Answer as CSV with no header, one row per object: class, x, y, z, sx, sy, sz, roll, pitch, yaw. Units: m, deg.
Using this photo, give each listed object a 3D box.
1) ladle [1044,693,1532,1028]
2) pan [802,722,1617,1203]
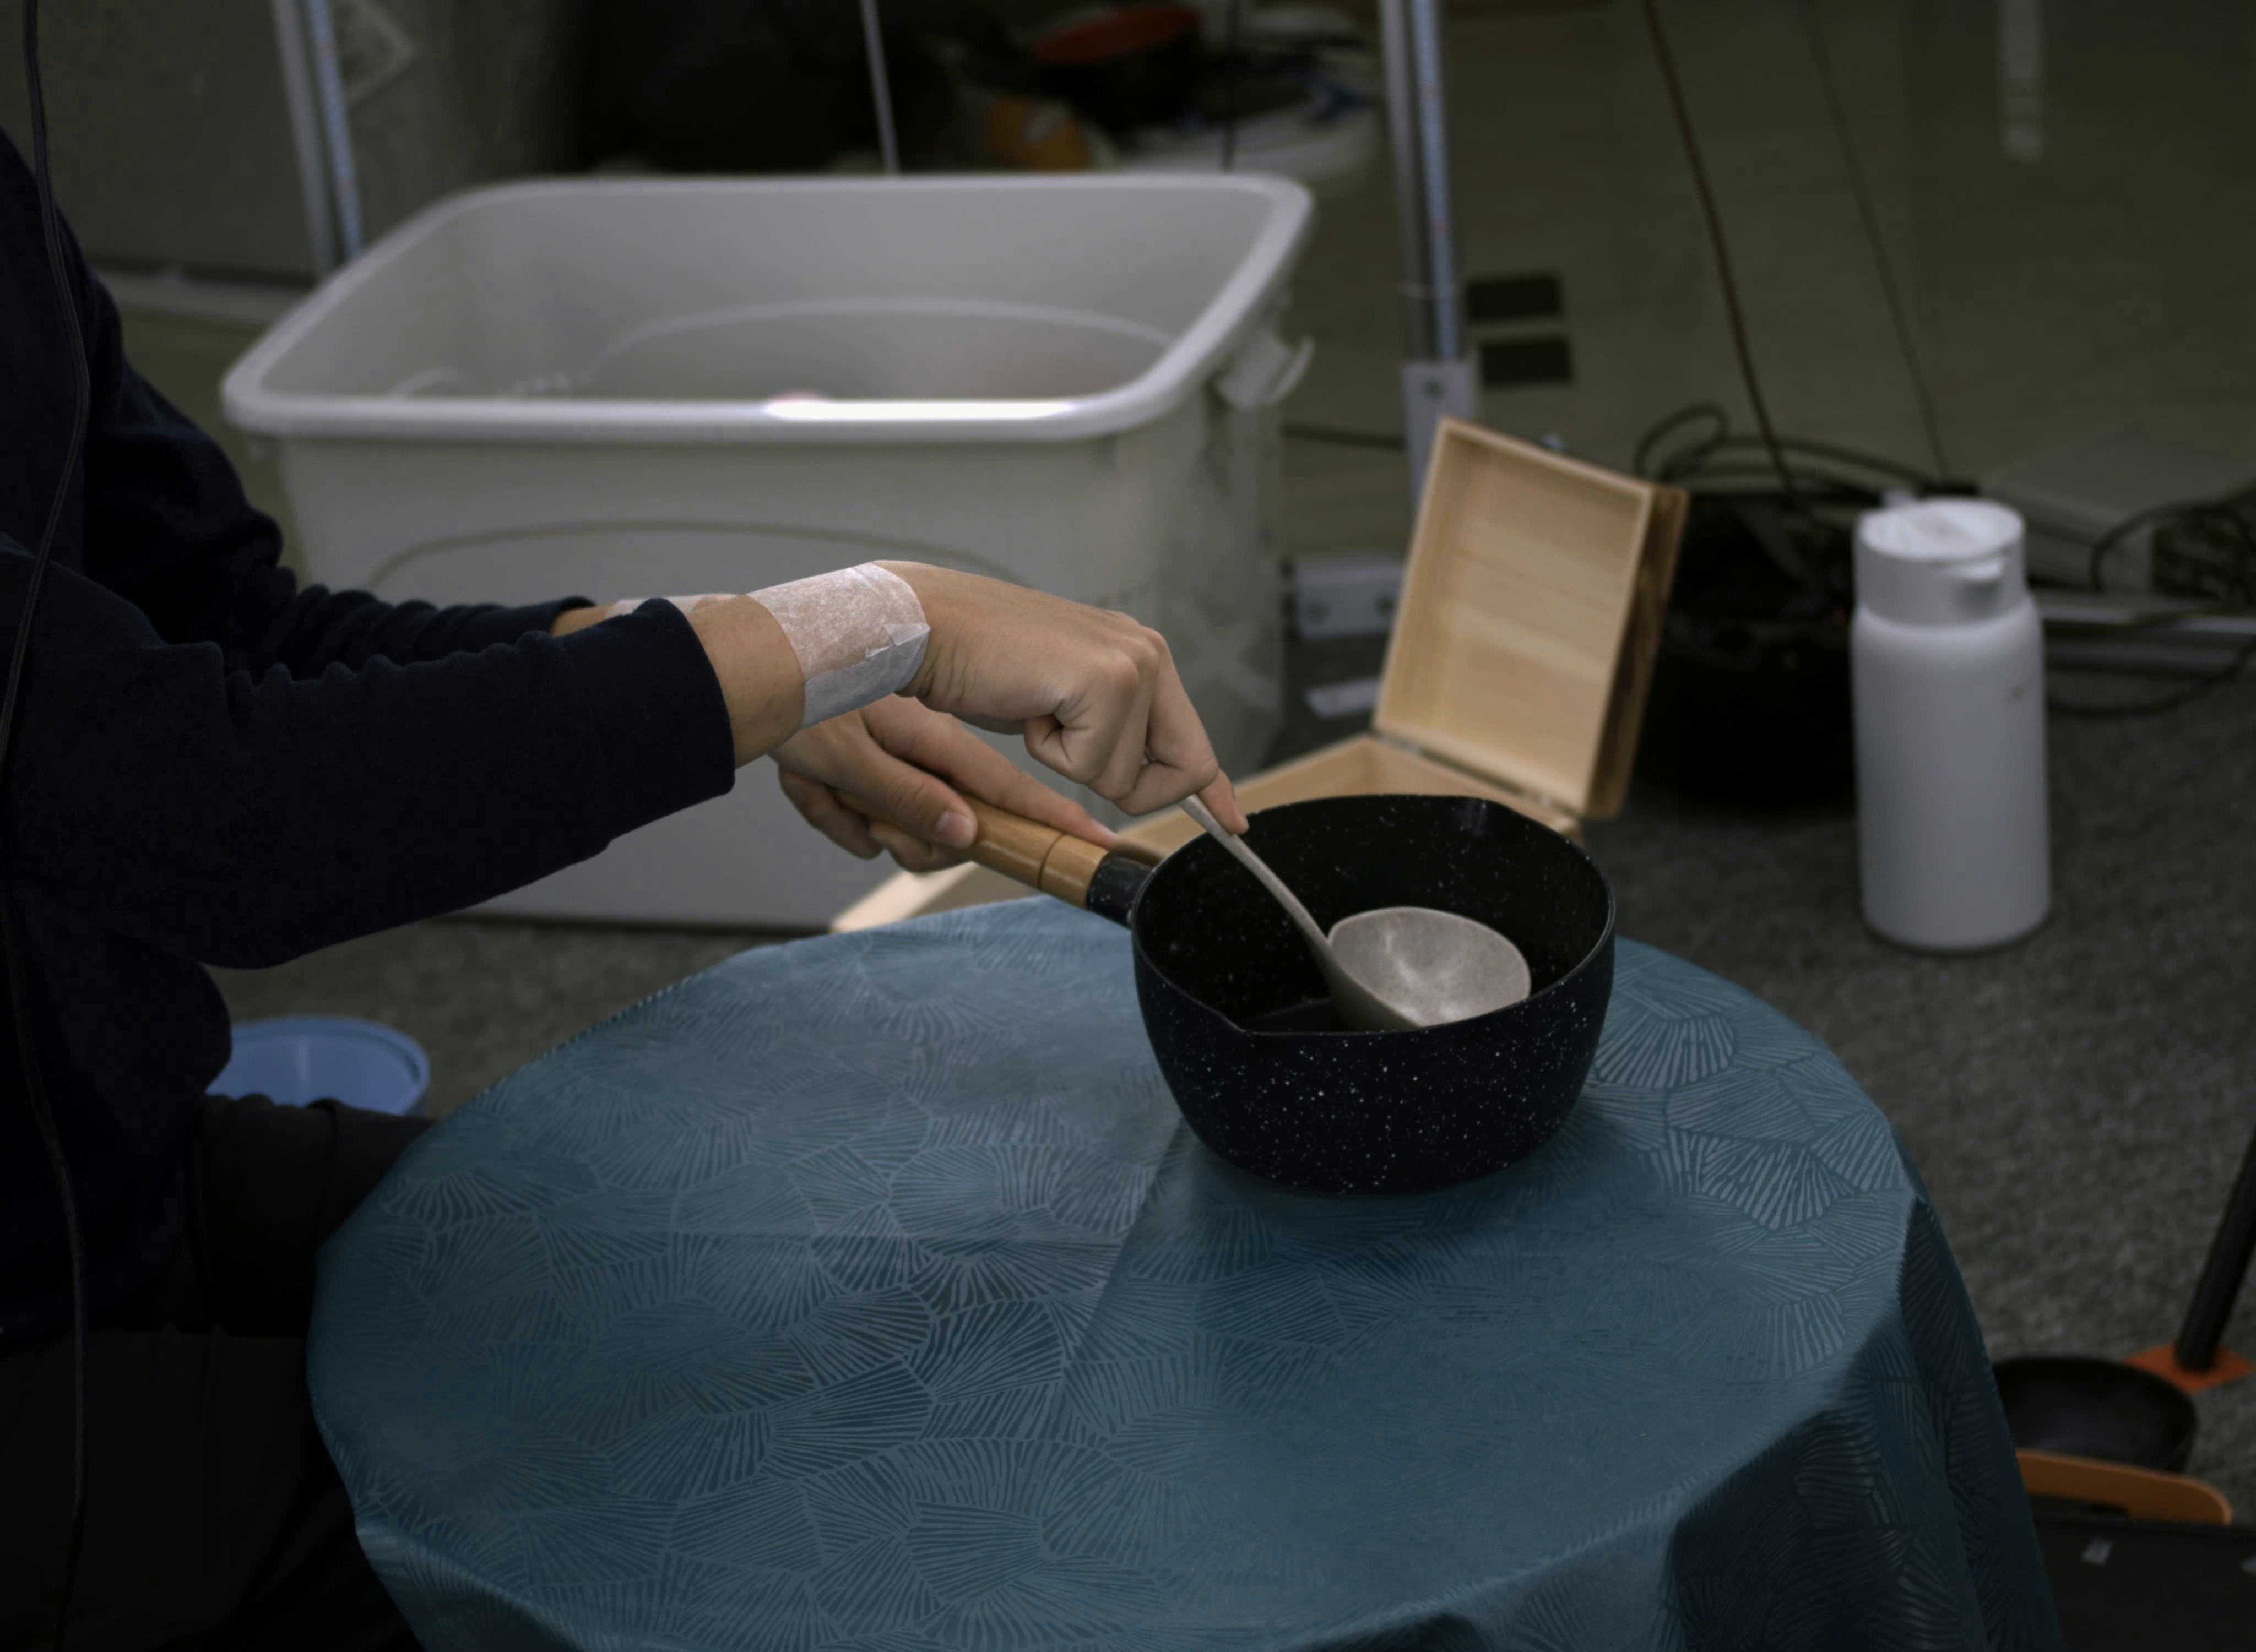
ladle,0.062,0.004,2.118,0.069,0.279,0.088,-39,47,4
pan,0.024,0.043,2.191,0.341,0.110,0.205,13,34,24
